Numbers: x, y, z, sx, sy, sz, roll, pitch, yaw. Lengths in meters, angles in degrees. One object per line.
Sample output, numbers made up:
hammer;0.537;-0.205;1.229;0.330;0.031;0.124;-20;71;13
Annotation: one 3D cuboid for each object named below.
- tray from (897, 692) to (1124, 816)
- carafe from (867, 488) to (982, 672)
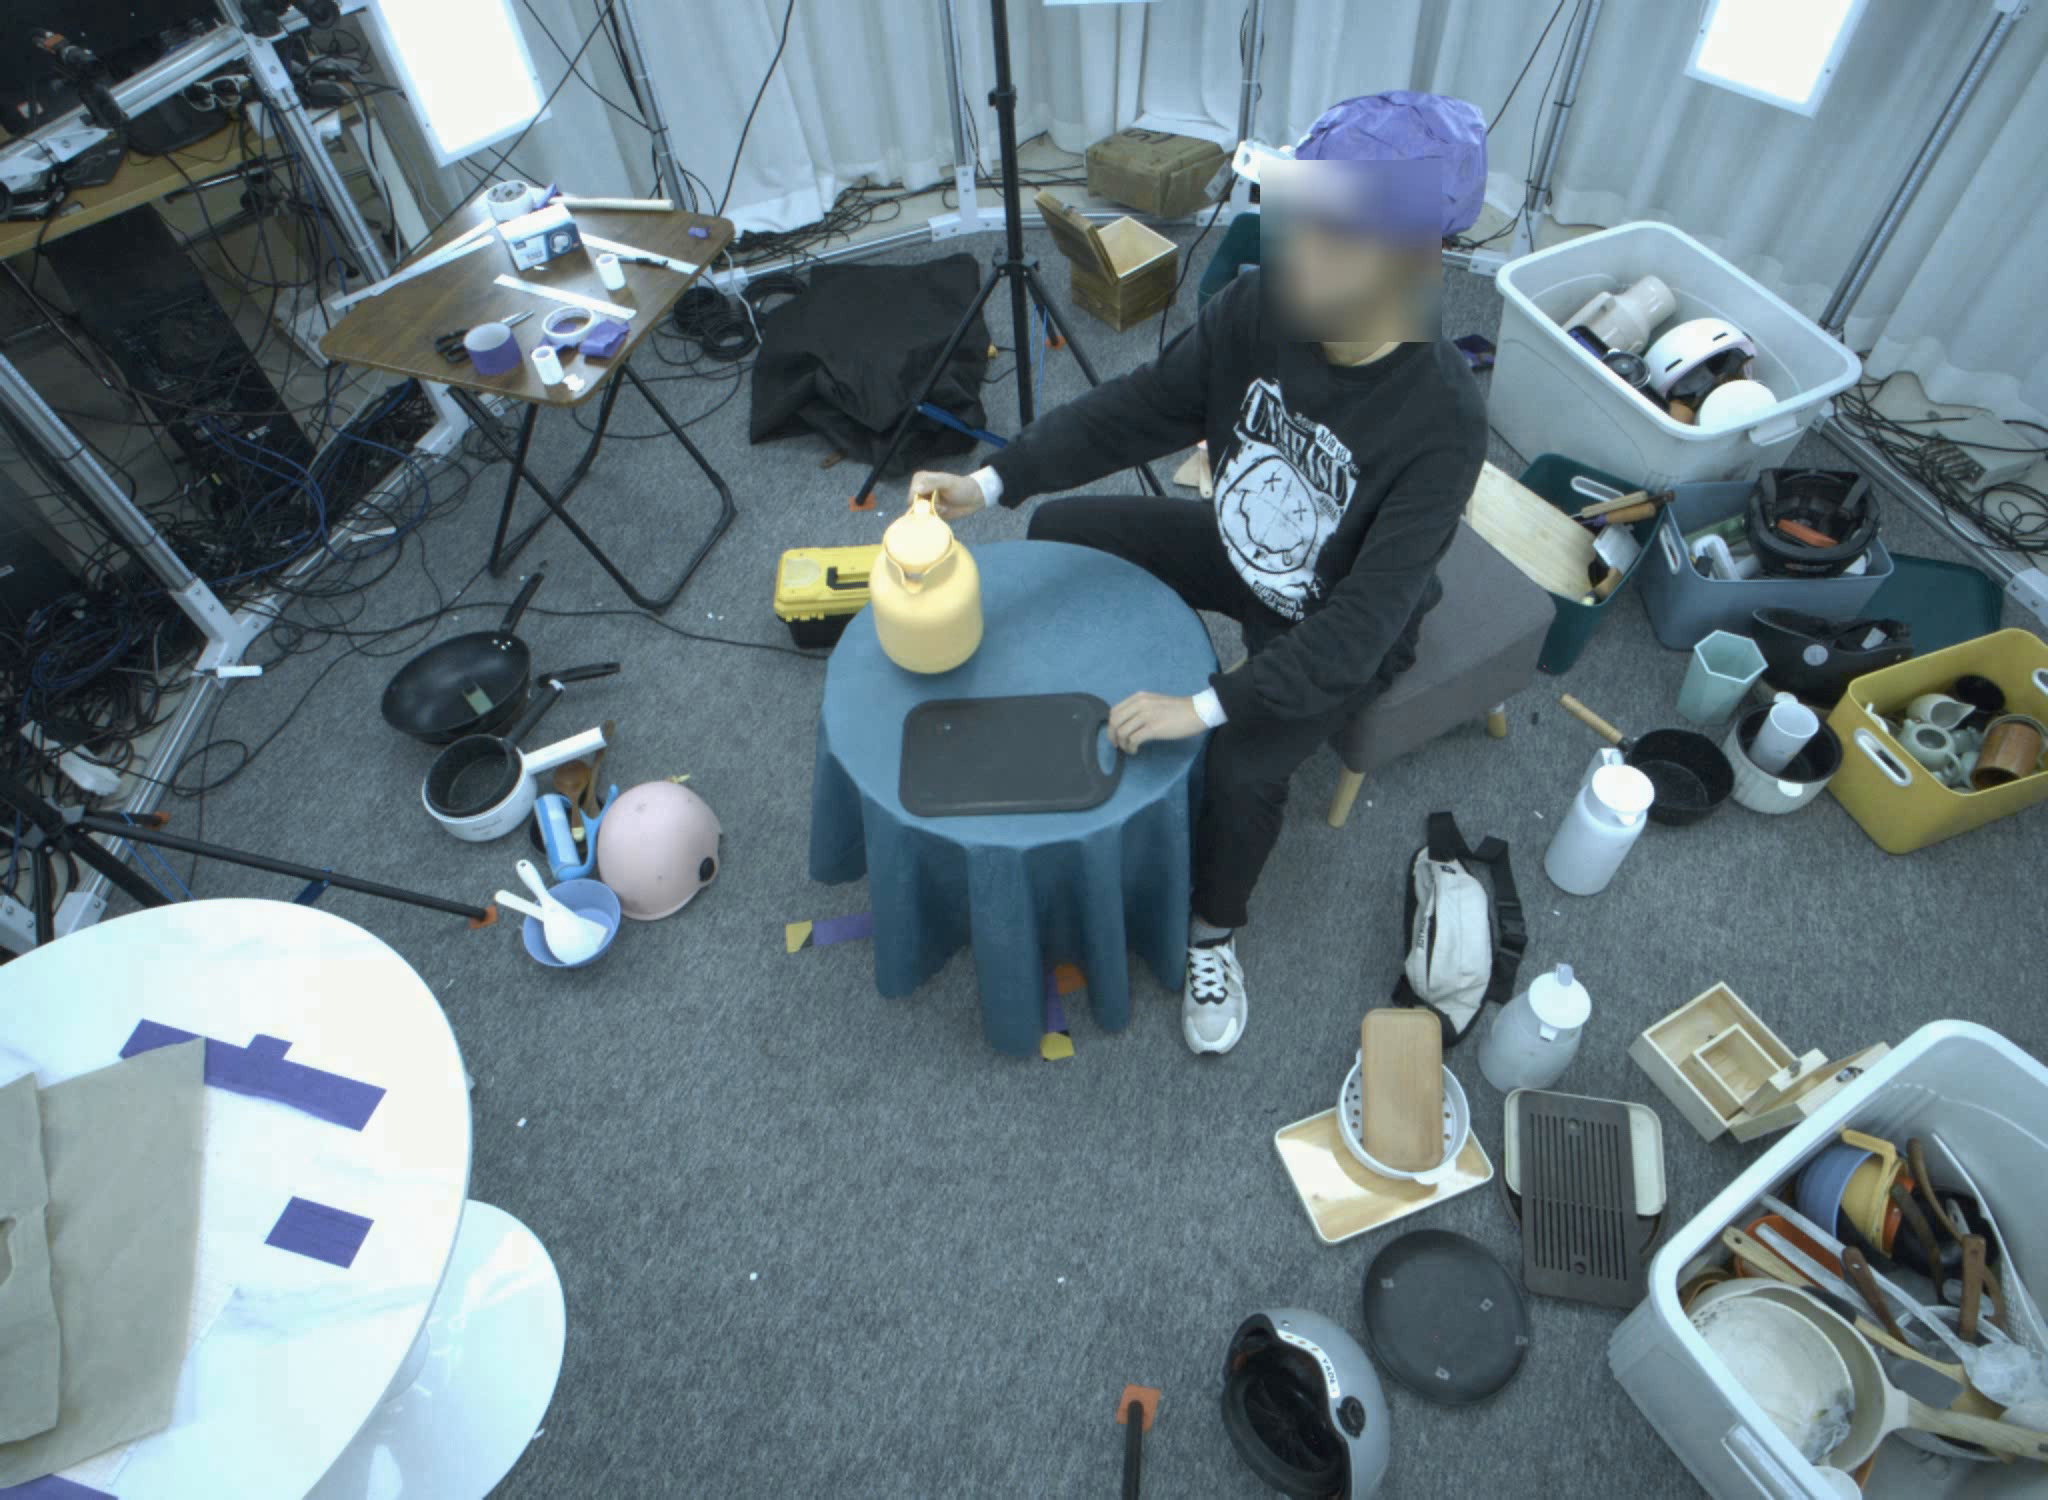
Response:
tray;-0.018;0.002;1.775;0.325;0.010;0.209;-2;55;2
carafe;-0.142;-0.251;1.775;0.163;0.262;0.201;6;66;1
